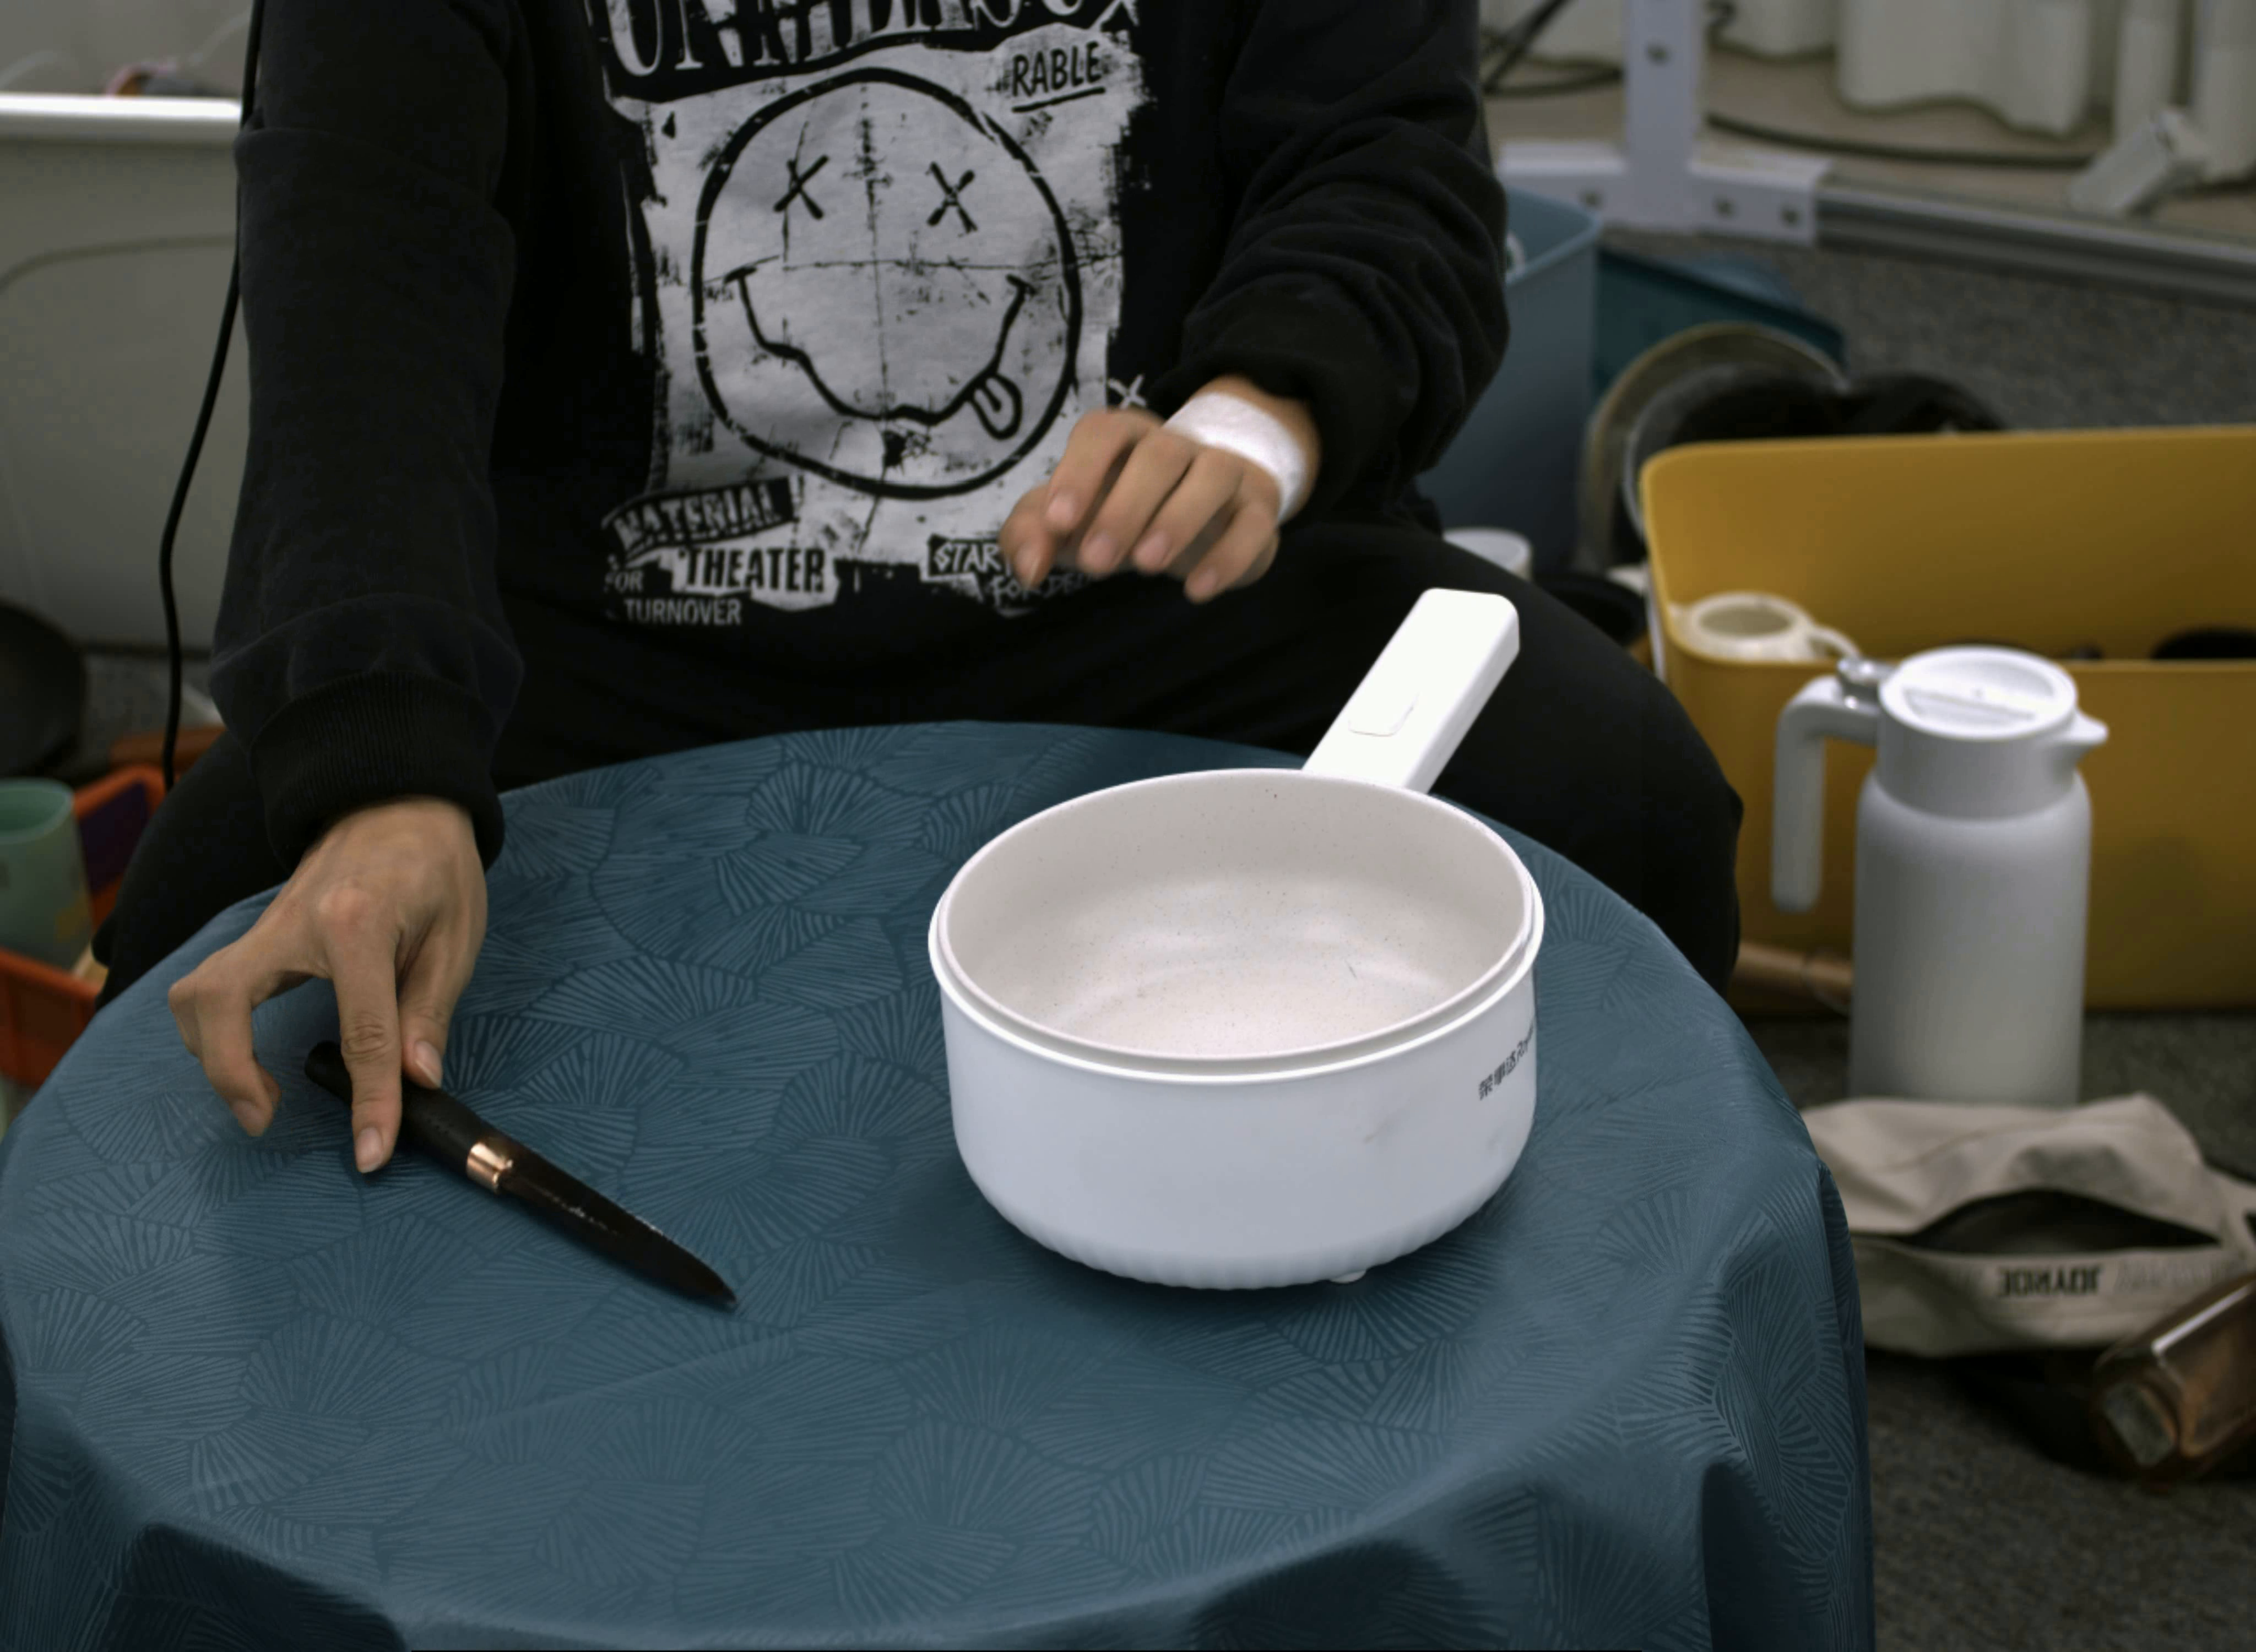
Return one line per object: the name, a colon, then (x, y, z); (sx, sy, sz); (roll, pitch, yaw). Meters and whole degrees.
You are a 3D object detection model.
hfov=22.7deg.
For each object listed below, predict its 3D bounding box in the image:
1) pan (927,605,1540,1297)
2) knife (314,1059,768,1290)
pan: (0.064, 0.040, 1.912); (0.200, 0.101, 0.361); (5, 27, 20)
knife: (-0.199, 0.118, 1.873); (0.026, 0.017, 0.225); (-8, 22, -44)
